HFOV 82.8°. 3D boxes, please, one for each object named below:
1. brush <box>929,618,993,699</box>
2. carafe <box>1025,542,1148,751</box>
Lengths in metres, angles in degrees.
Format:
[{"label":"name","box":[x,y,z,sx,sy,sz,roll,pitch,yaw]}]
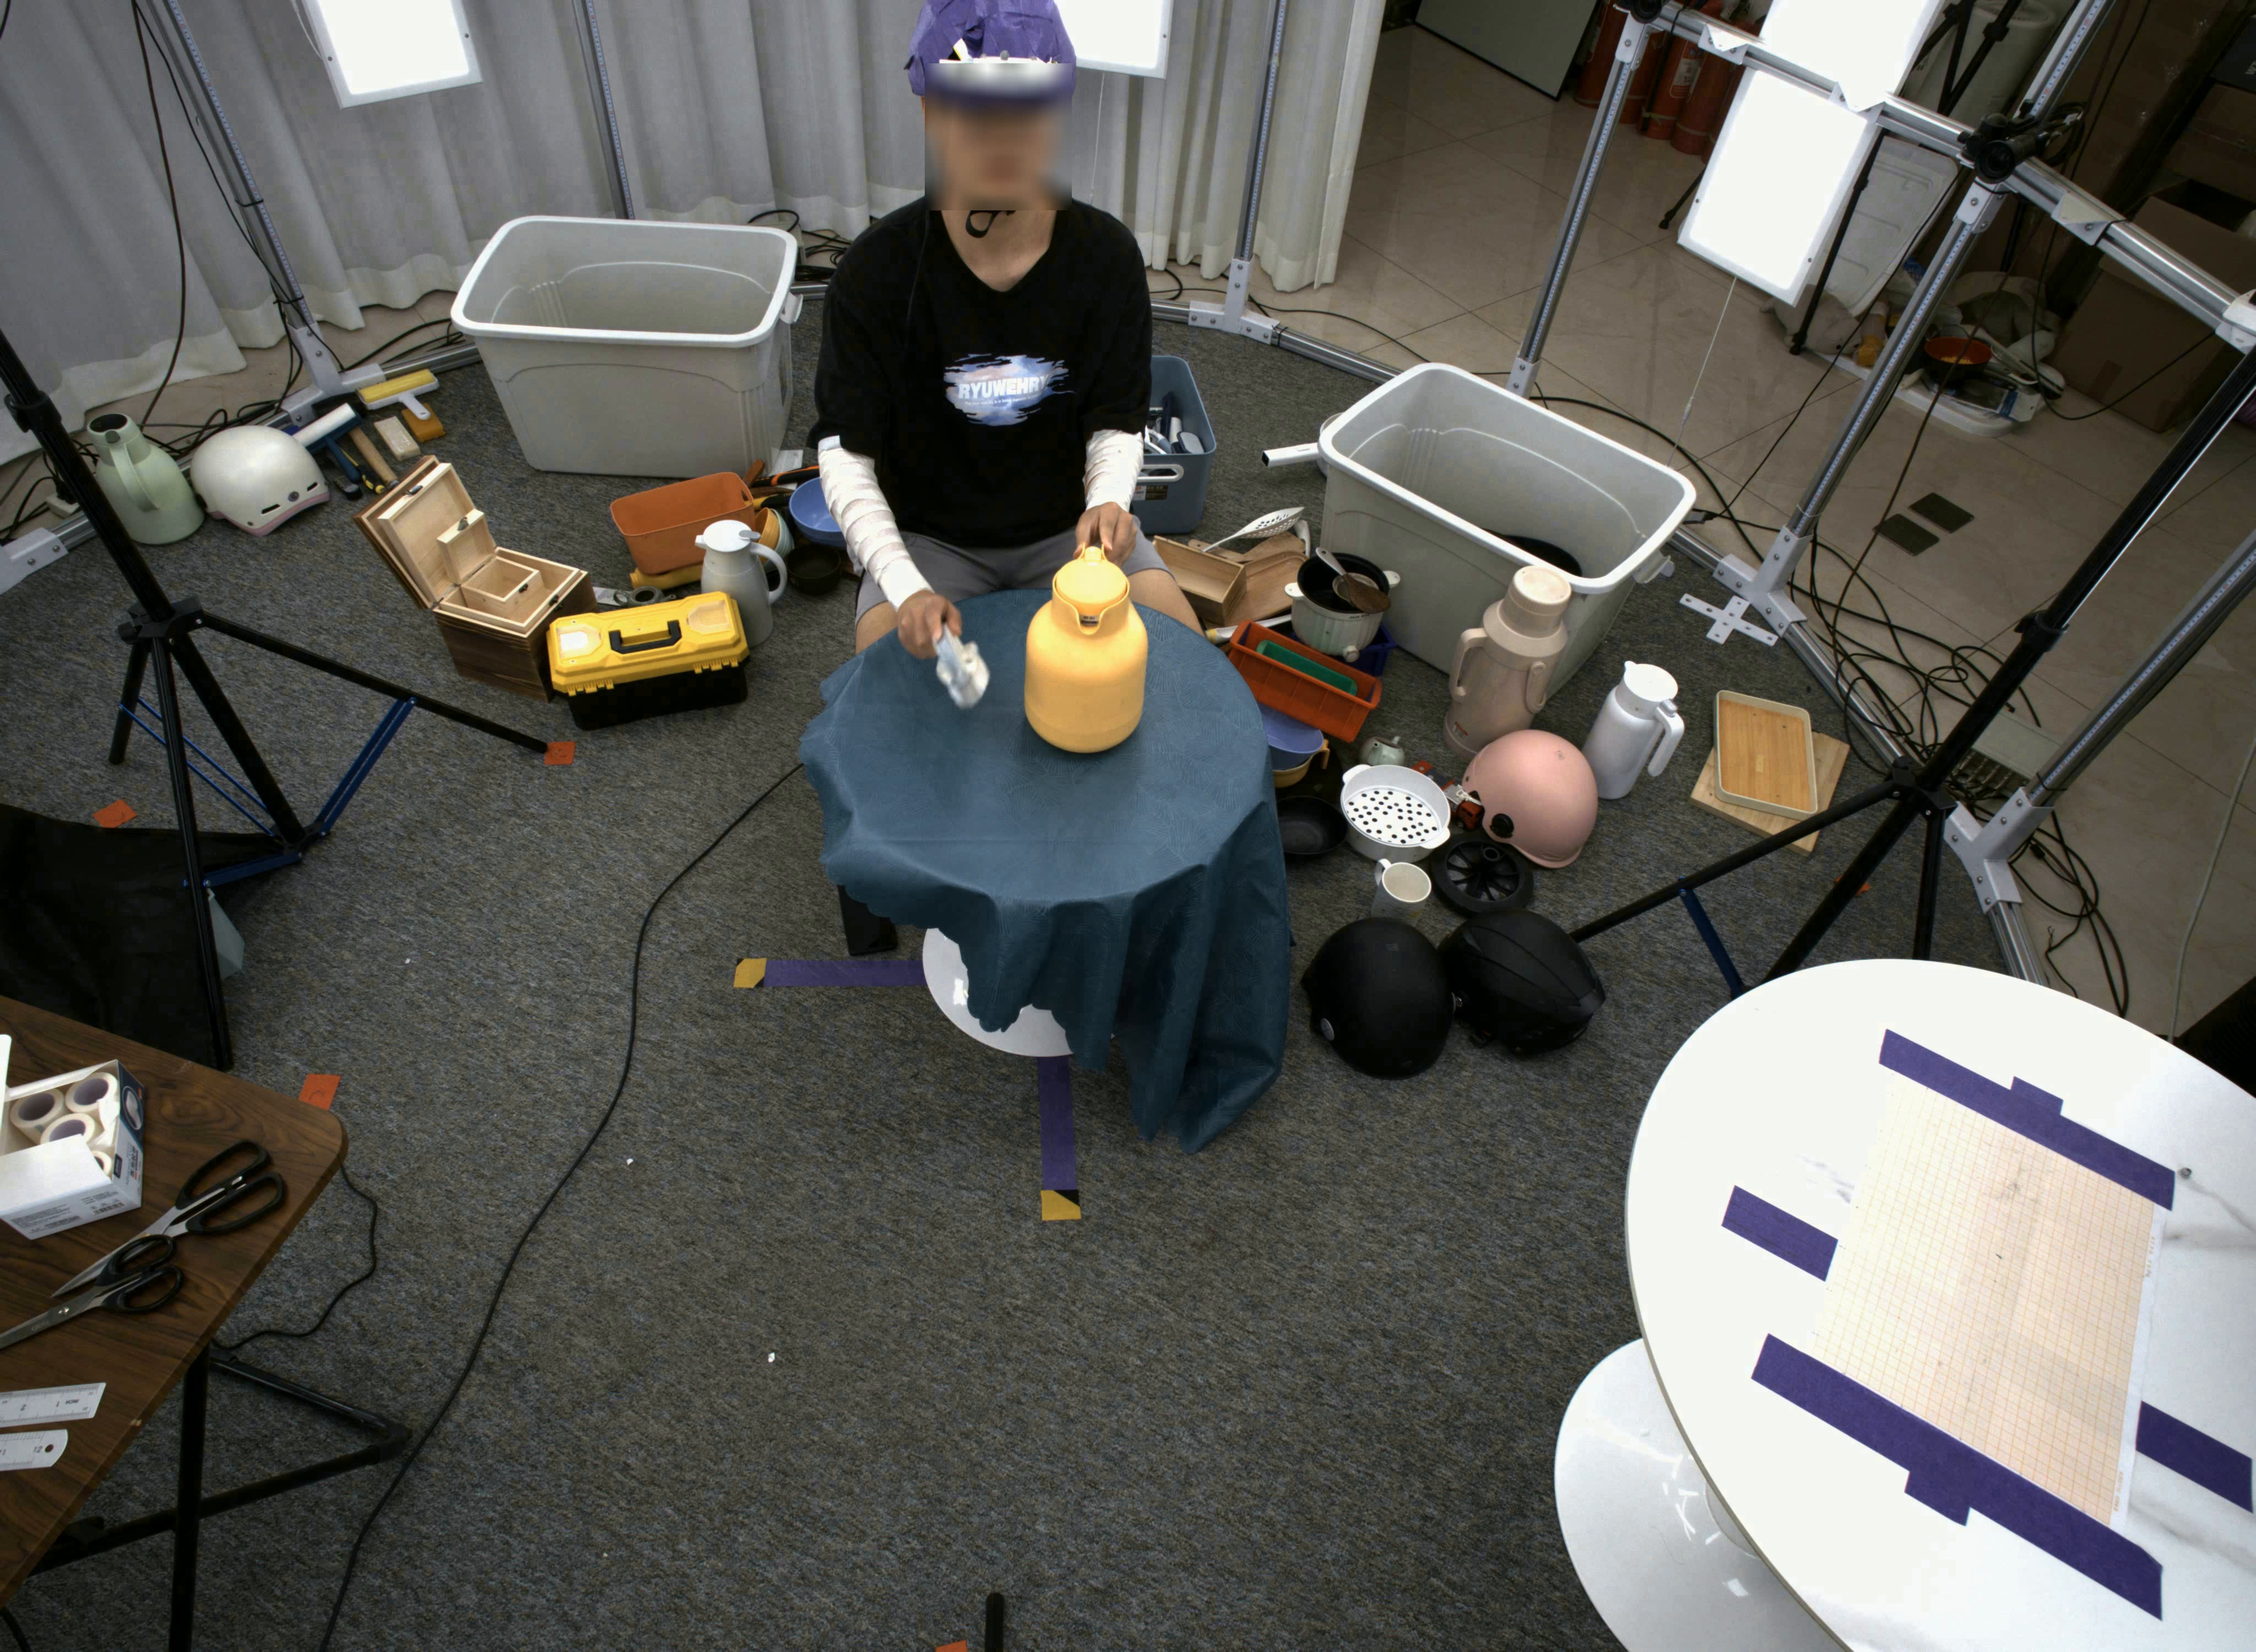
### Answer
[{"label":"brush","box":[-0.222,-0.225,1.686,0.061,0.093,0.178,-34,23,4]},{"label":"carafe","box":[-0.052,-0.246,1.716,0.163,0.254,0.207,6,51,-1]}]
